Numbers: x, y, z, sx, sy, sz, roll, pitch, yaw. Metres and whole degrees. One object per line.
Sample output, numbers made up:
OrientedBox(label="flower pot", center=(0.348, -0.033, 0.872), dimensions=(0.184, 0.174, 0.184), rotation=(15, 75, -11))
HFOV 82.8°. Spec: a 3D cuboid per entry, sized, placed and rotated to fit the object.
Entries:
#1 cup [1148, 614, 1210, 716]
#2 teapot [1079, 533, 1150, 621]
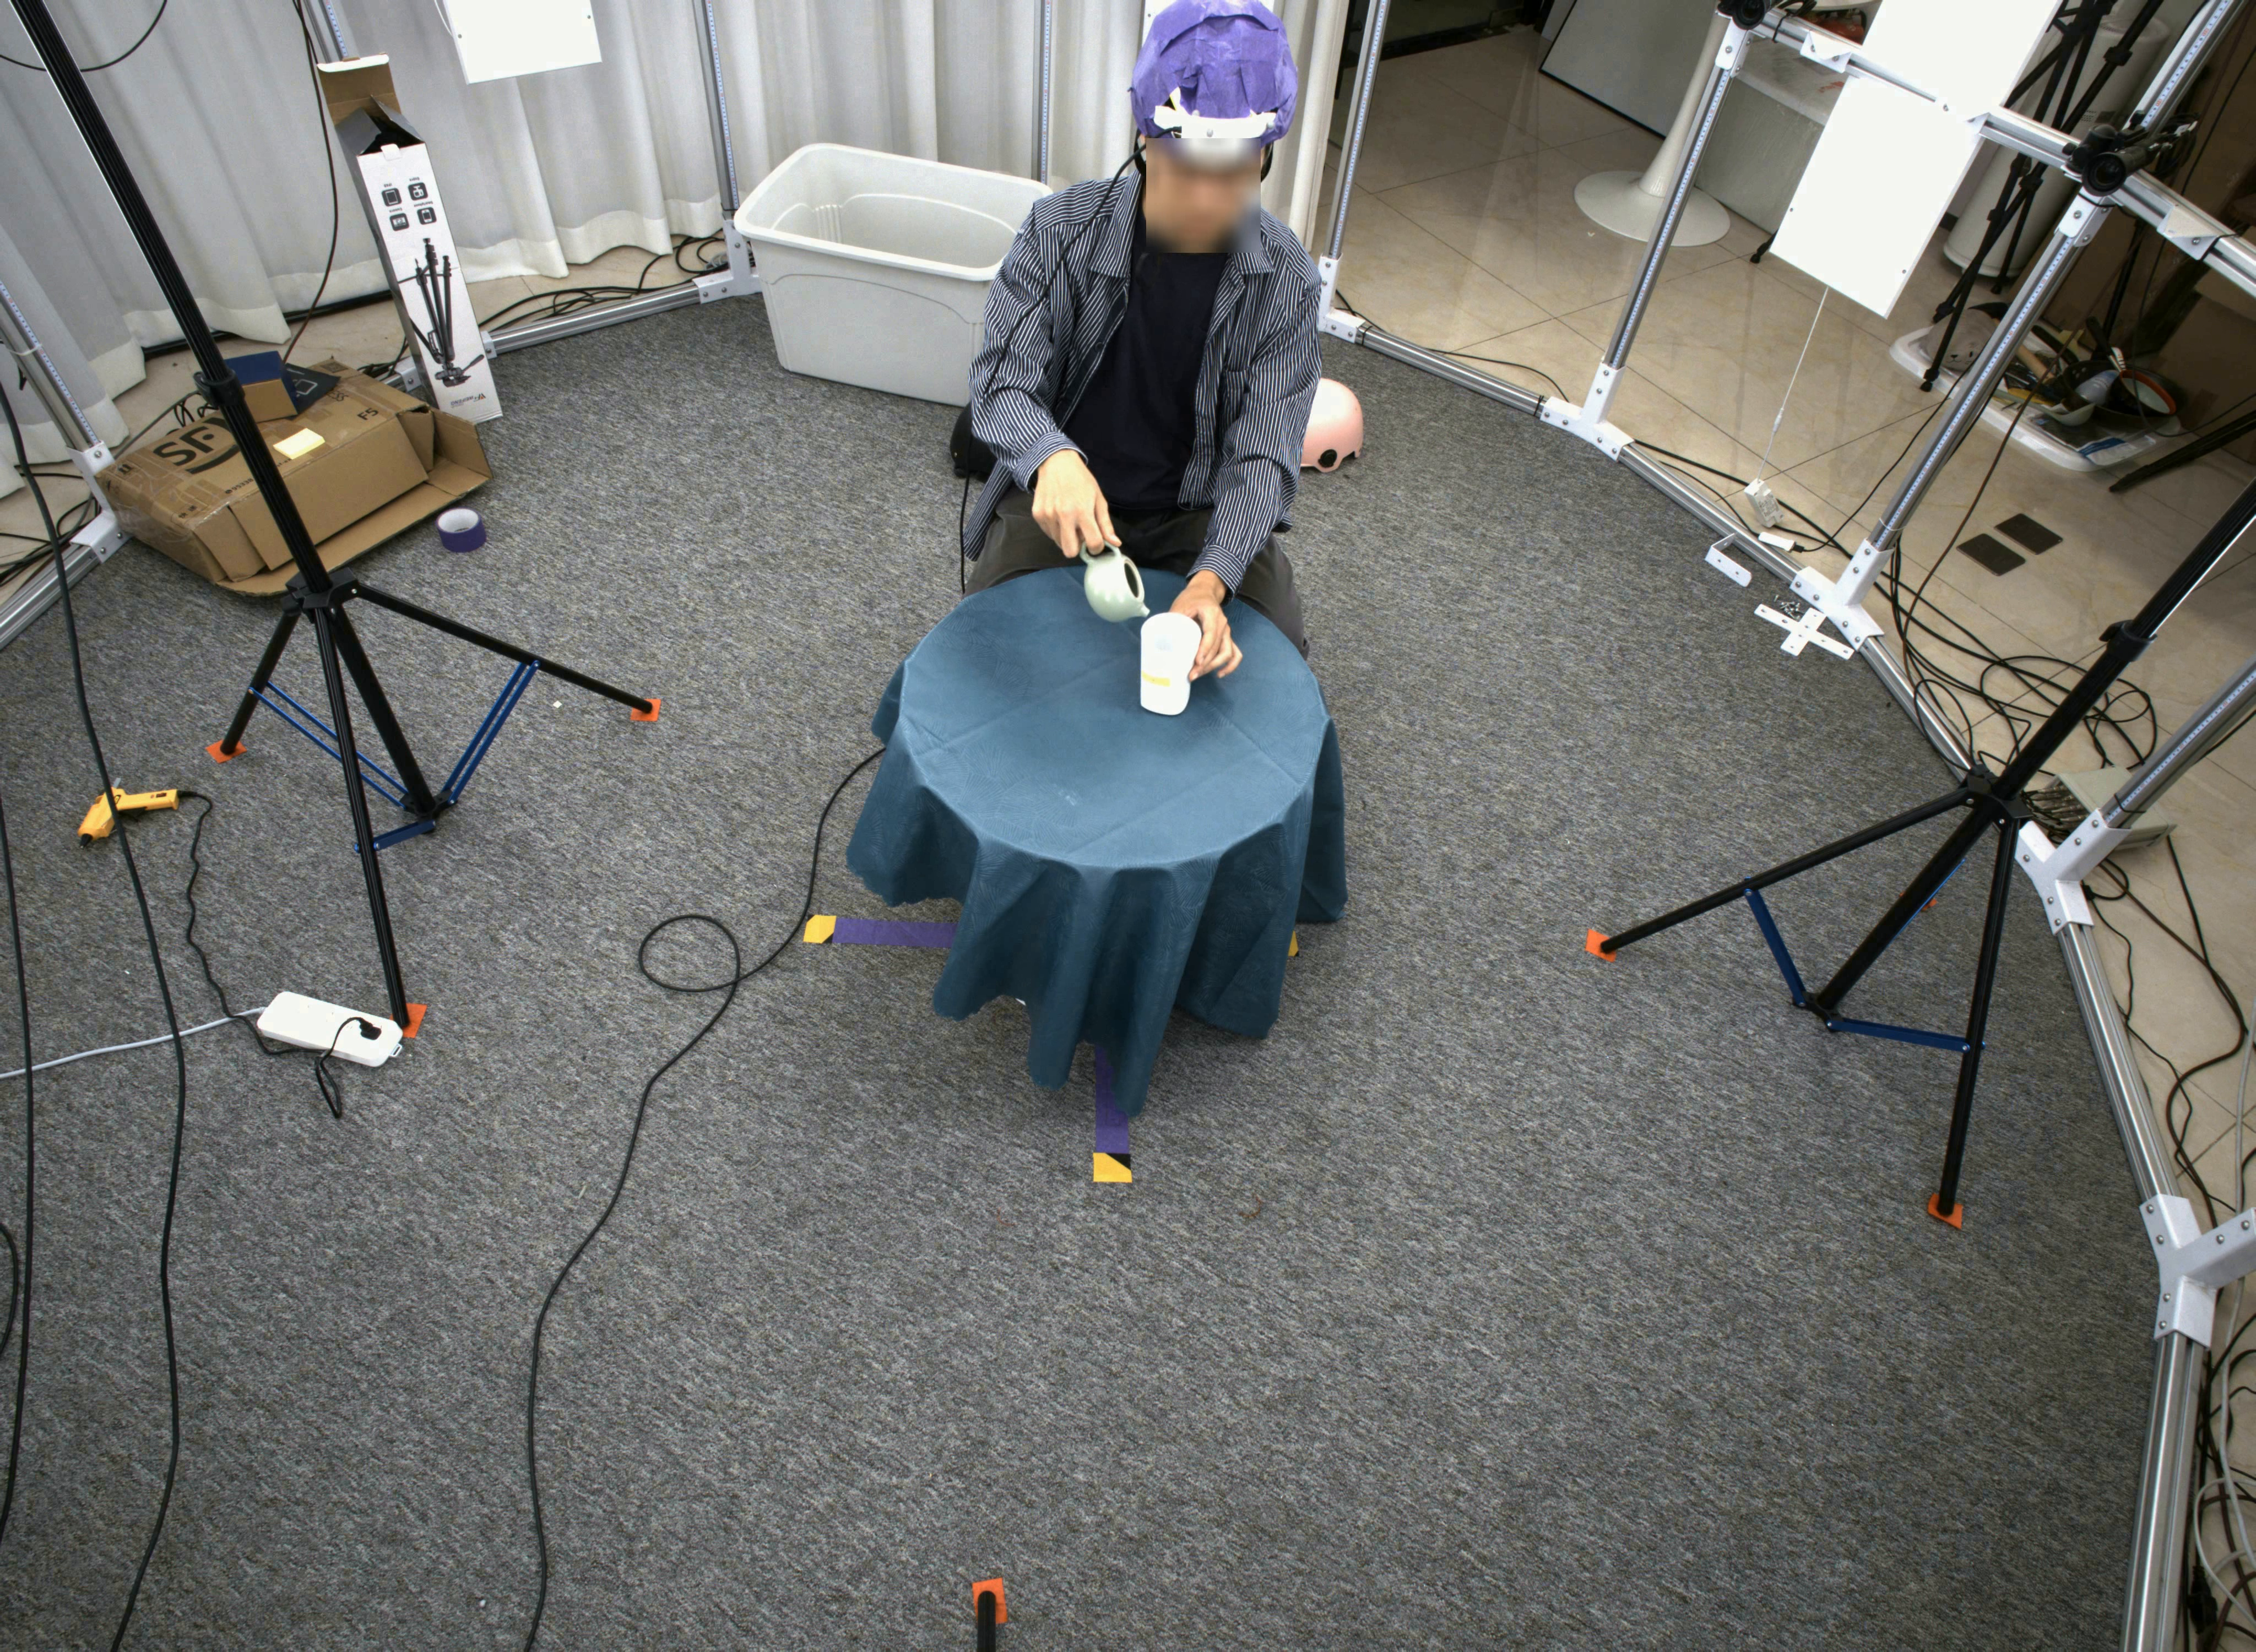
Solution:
OrientedBox(label="cup", center=(0.067, -0.218, 1.767), dimensions=(0.081, 0.122, 0.084), rotation=(2, 49, -2))
OrientedBox(label="teapot", center=(-0.023, -0.319, 1.663), dimensions=(0.061, 0.126, 0.093), rotation=(-17, 25, 23))
